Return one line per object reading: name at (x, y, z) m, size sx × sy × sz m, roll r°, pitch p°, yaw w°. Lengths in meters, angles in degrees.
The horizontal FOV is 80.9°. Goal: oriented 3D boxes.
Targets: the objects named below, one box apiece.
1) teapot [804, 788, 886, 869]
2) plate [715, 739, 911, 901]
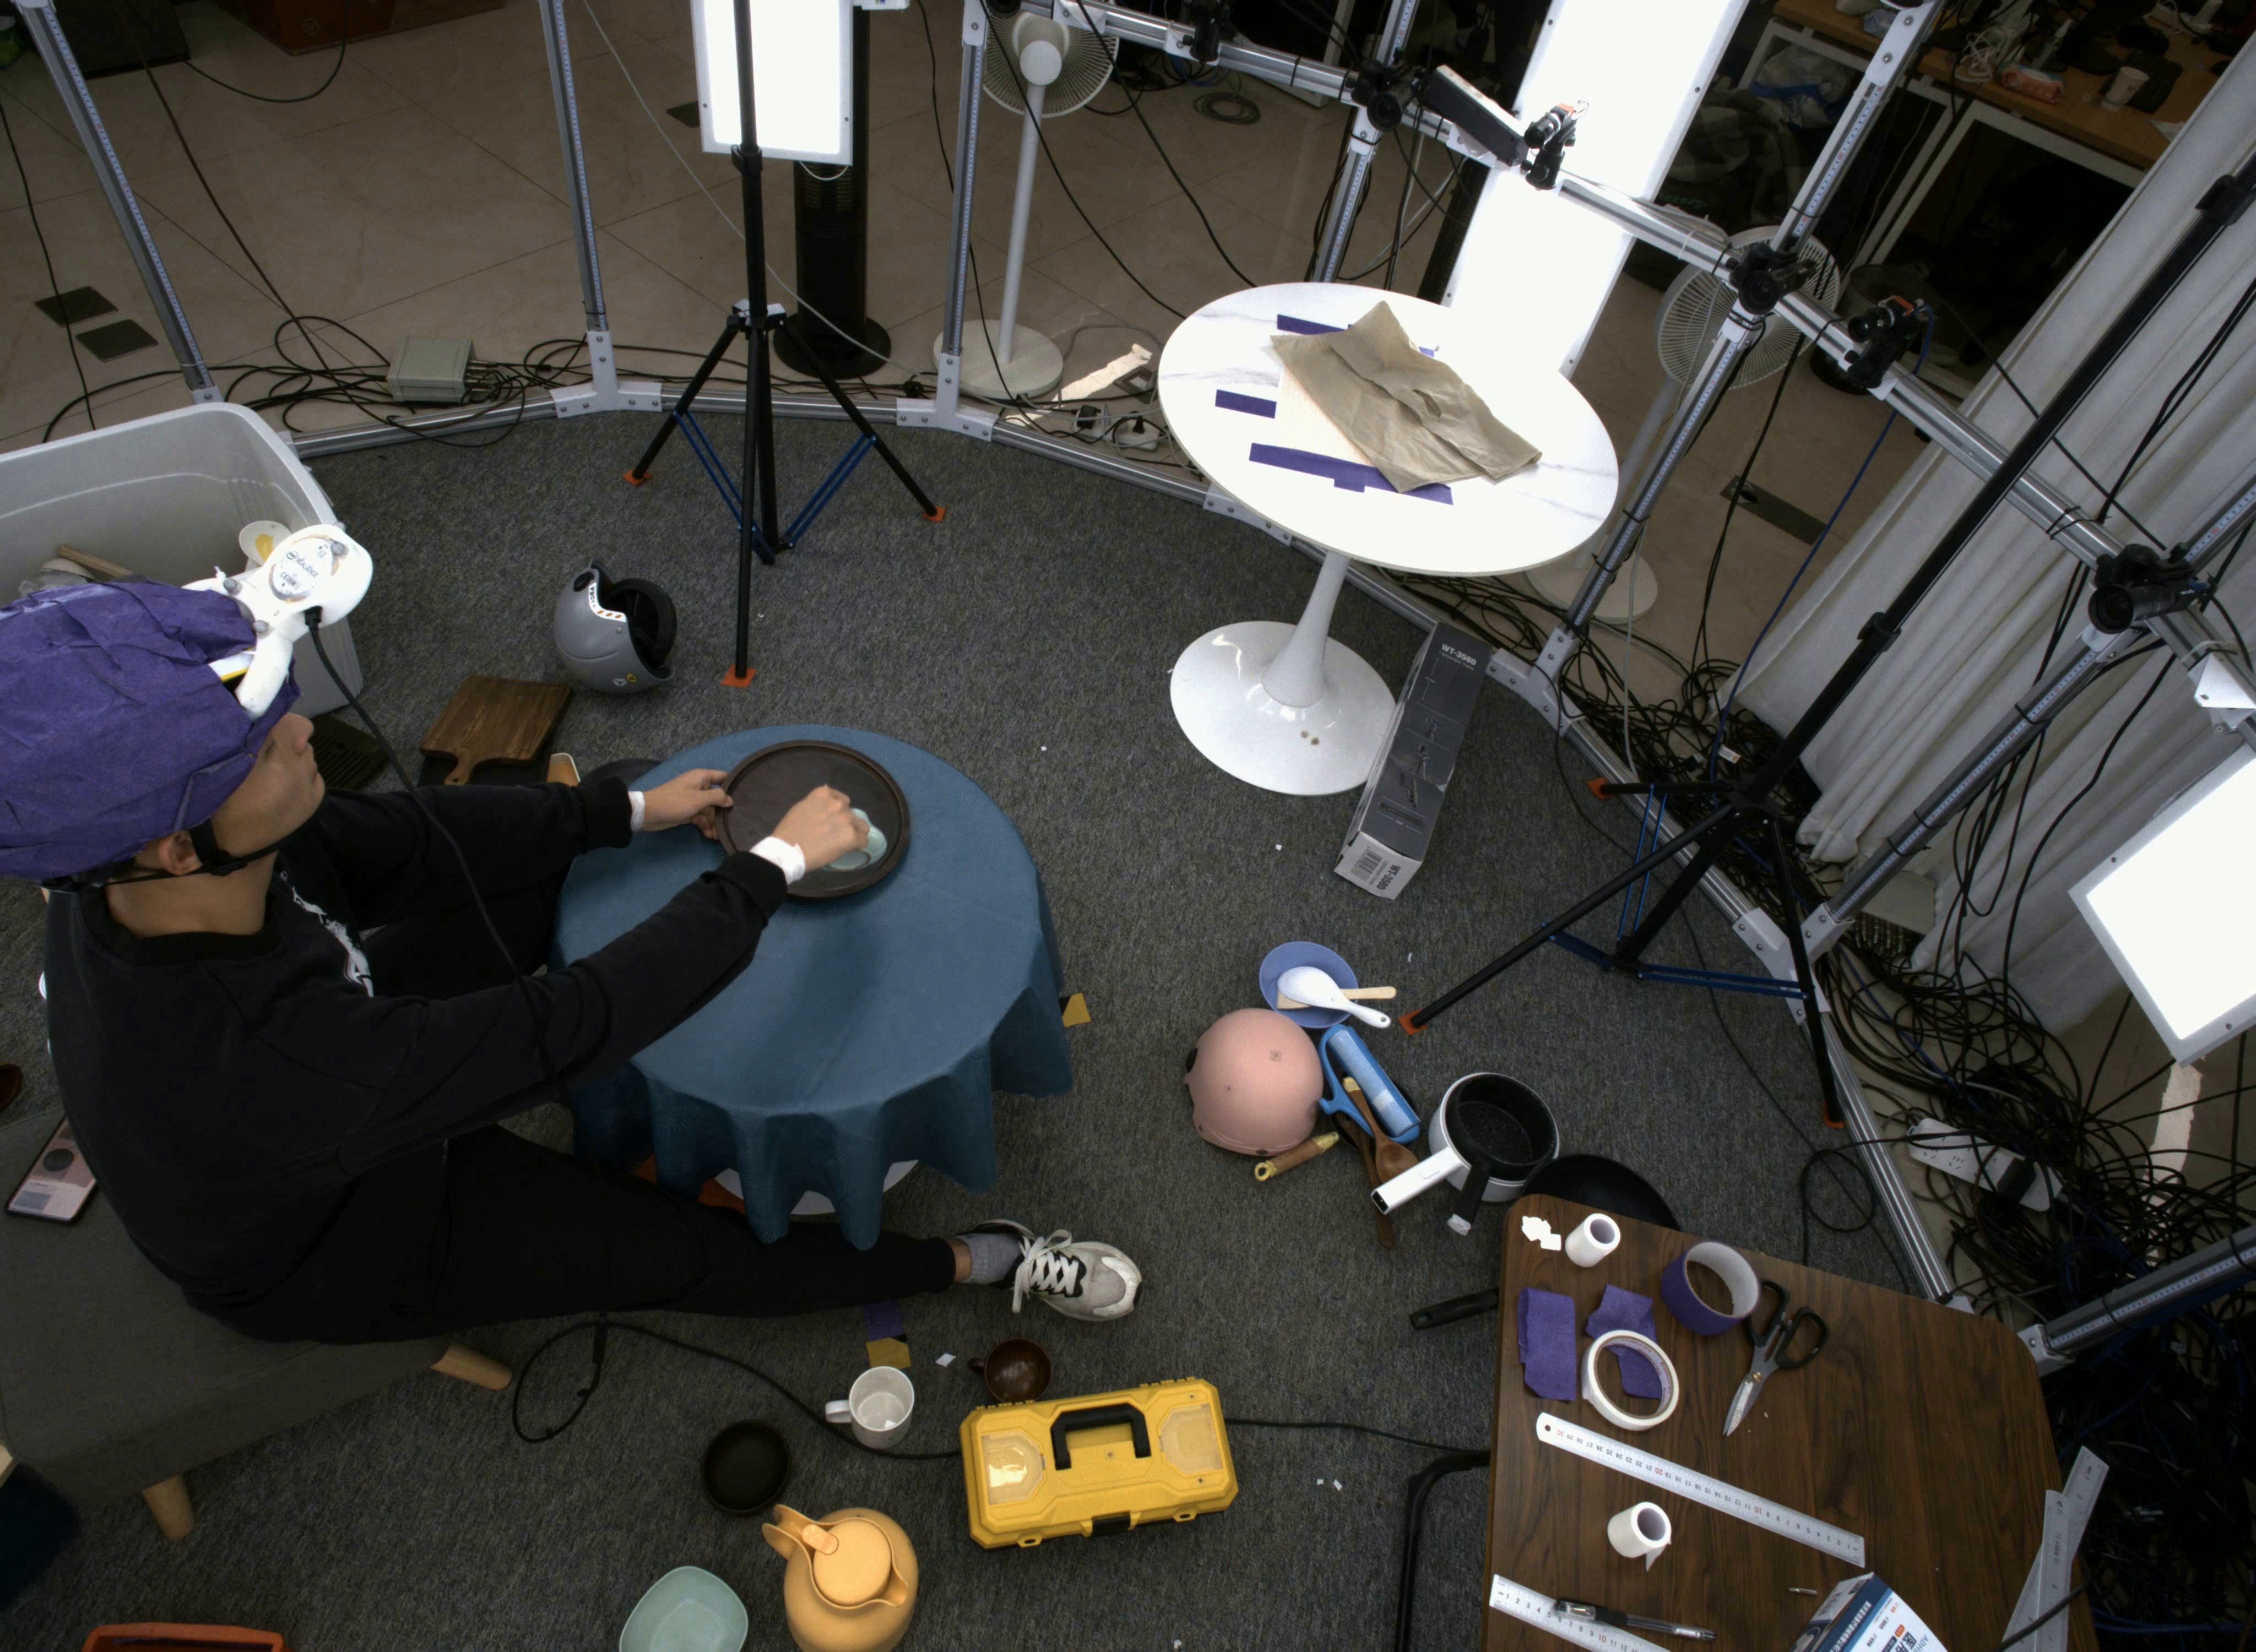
teapot at (-0.341, 0.008, 1.551) m, size 0.096 × 0.140 × 0.060 m, roll -11°, pitch 63°, yaw -7°
plate at (-0.412, -0.010, 1.701) m, size 0.256 × 0.029 × 0.250 m, roll 12°, pitch 53°, yaw -15°
